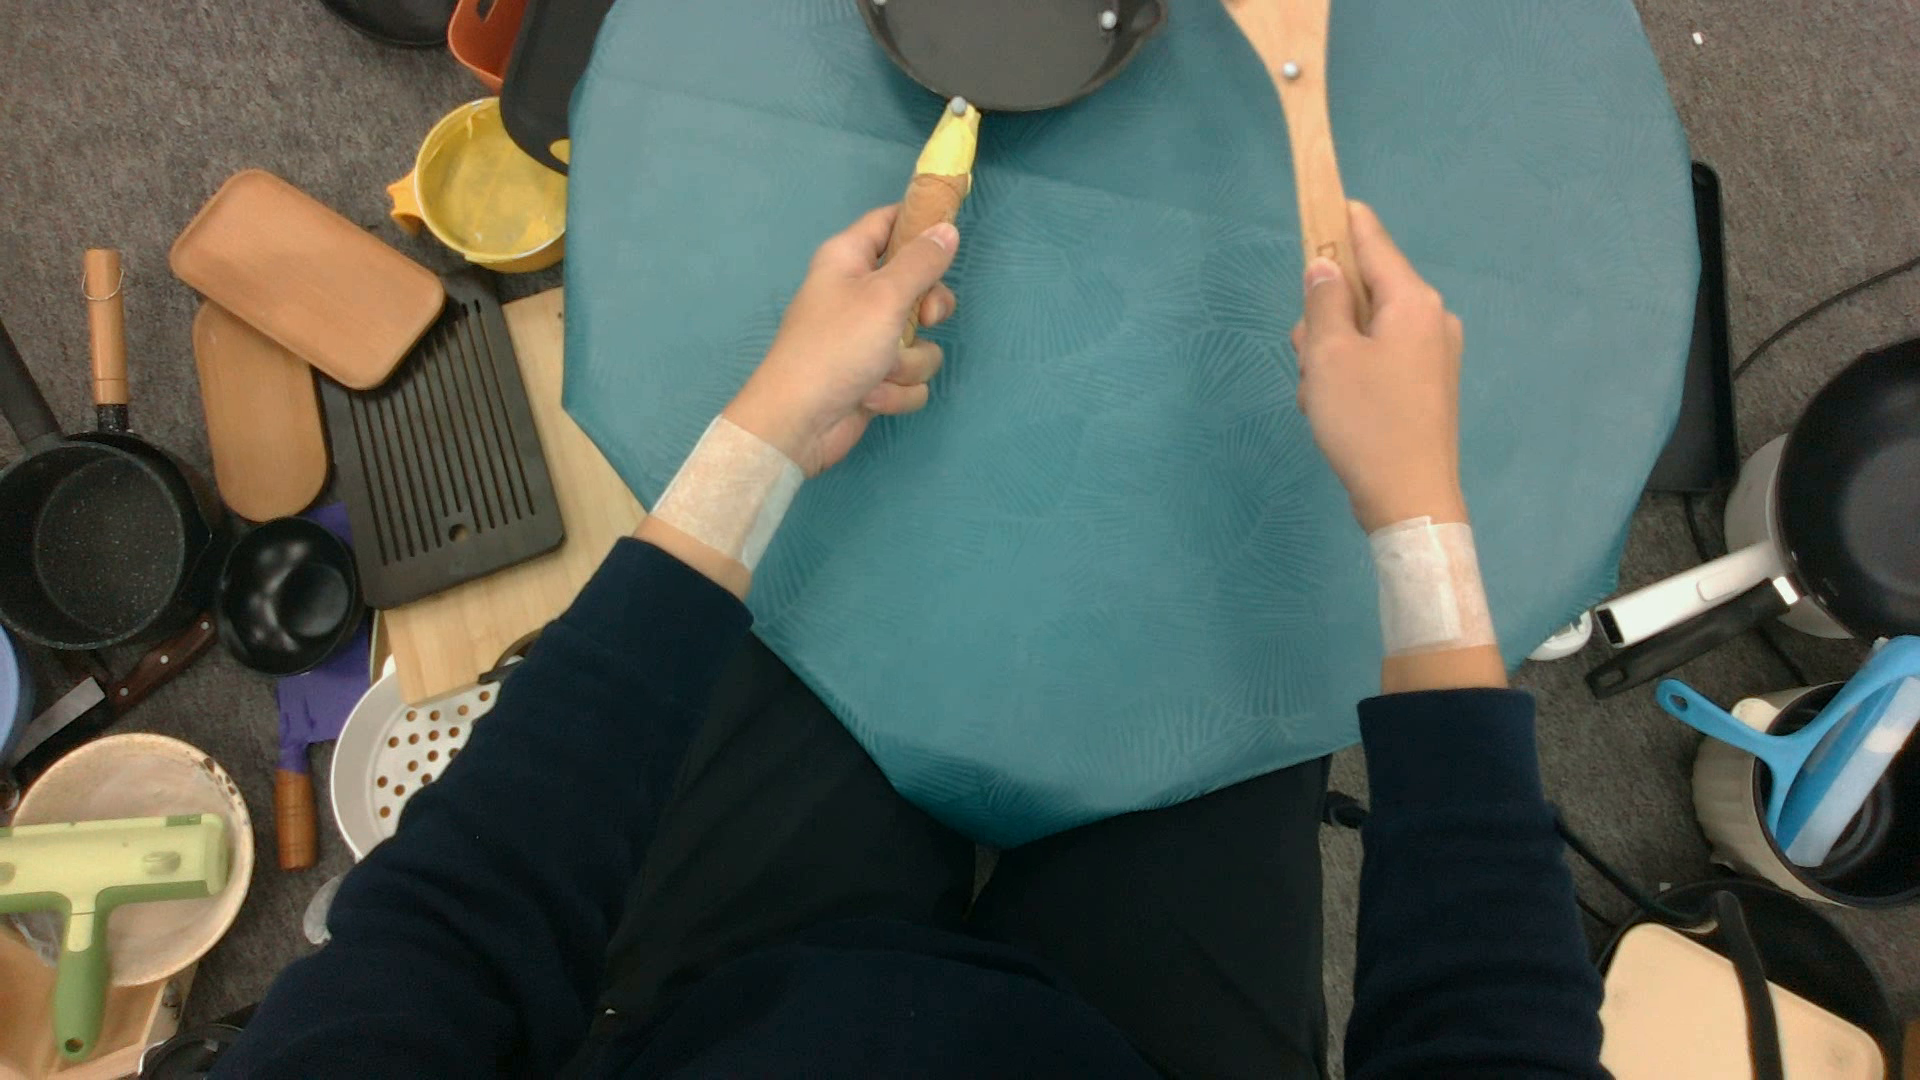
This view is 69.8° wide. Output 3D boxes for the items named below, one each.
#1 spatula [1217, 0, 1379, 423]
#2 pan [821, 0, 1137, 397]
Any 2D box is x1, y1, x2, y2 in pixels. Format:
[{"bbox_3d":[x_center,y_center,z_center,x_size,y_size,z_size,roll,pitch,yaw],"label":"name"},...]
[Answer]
[{"bbox_3d":[0.154,-0.211,0.651,0.079,0.016,0.328,-15,73,30],"label":"spatula"},{"bbox_3d":[-0.015,-0.214,0.687,0.169,0.049,0.325,17,73,0],"label":"pan"}]
